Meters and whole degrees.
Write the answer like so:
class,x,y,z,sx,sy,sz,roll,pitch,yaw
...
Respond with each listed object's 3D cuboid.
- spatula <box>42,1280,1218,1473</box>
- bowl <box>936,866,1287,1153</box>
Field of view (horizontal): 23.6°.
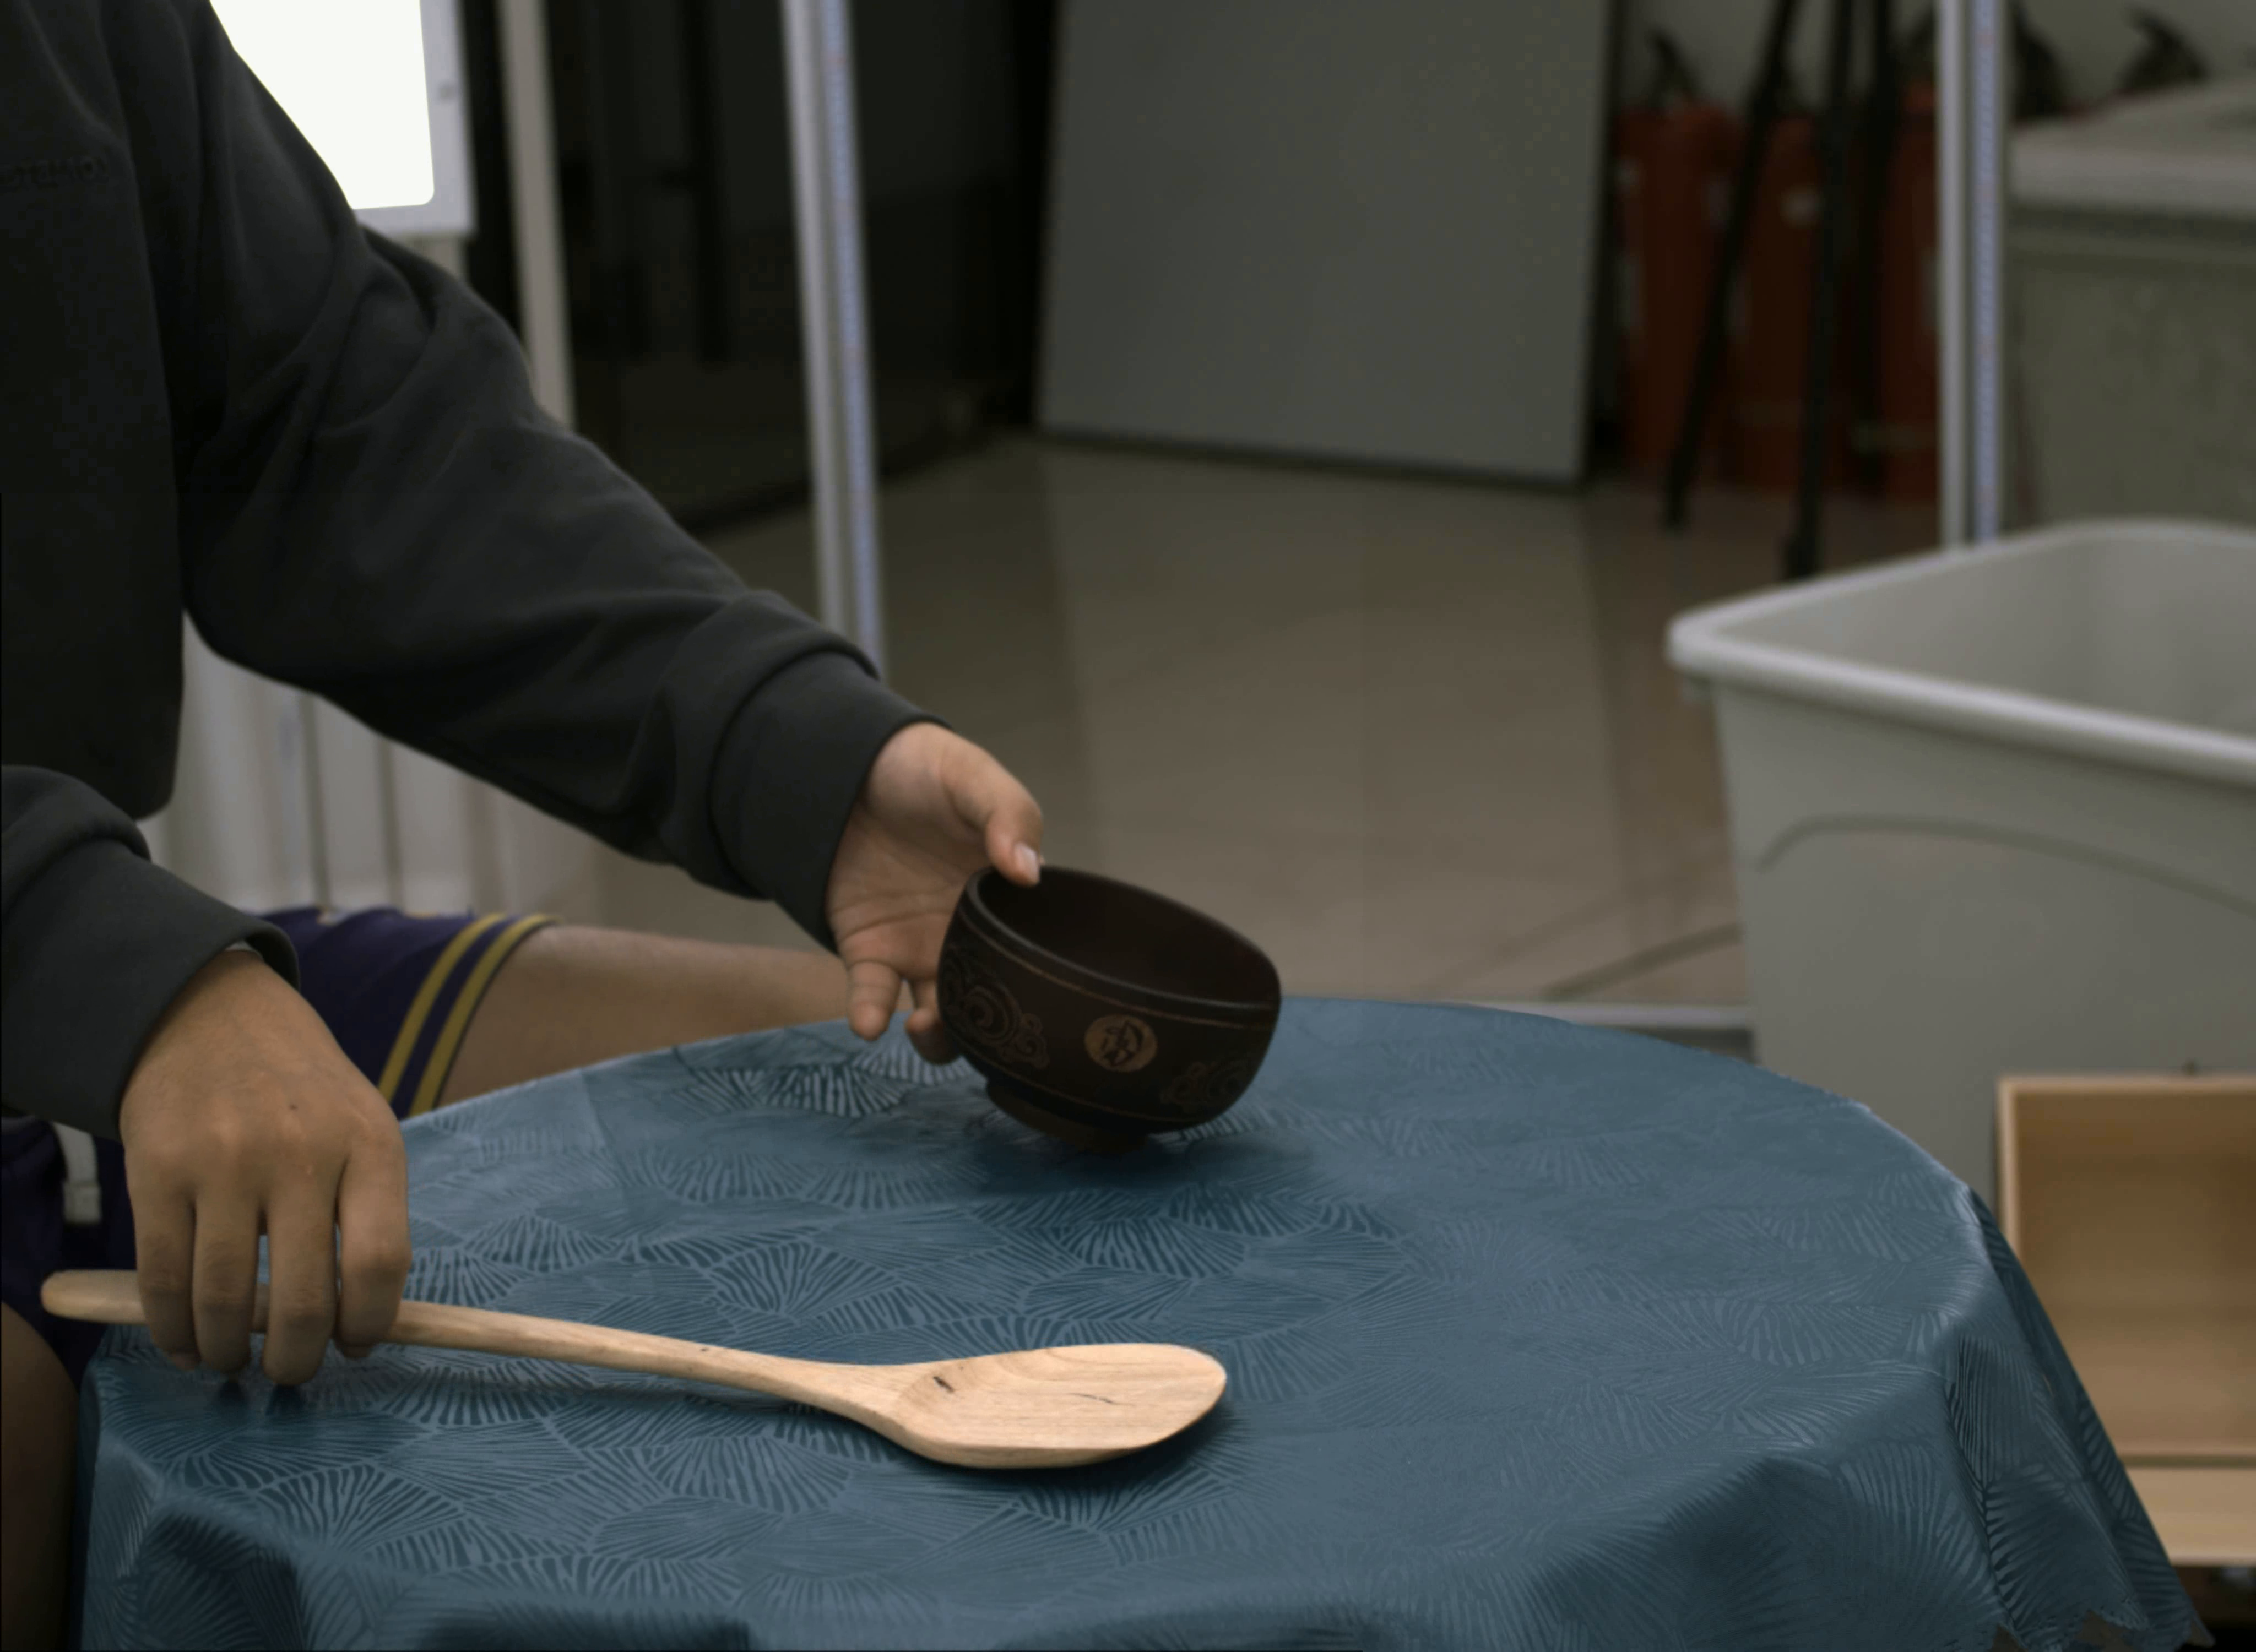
class,x,y,z,sx,sy,sz,roll,pitch,yaw
spatula,-0.158,0.159,1.606,0.391,0.019,0.094,5,14,23
bowl,-0.010,0.067,1.813,0.116,0.070,0.118,16,14,-5
